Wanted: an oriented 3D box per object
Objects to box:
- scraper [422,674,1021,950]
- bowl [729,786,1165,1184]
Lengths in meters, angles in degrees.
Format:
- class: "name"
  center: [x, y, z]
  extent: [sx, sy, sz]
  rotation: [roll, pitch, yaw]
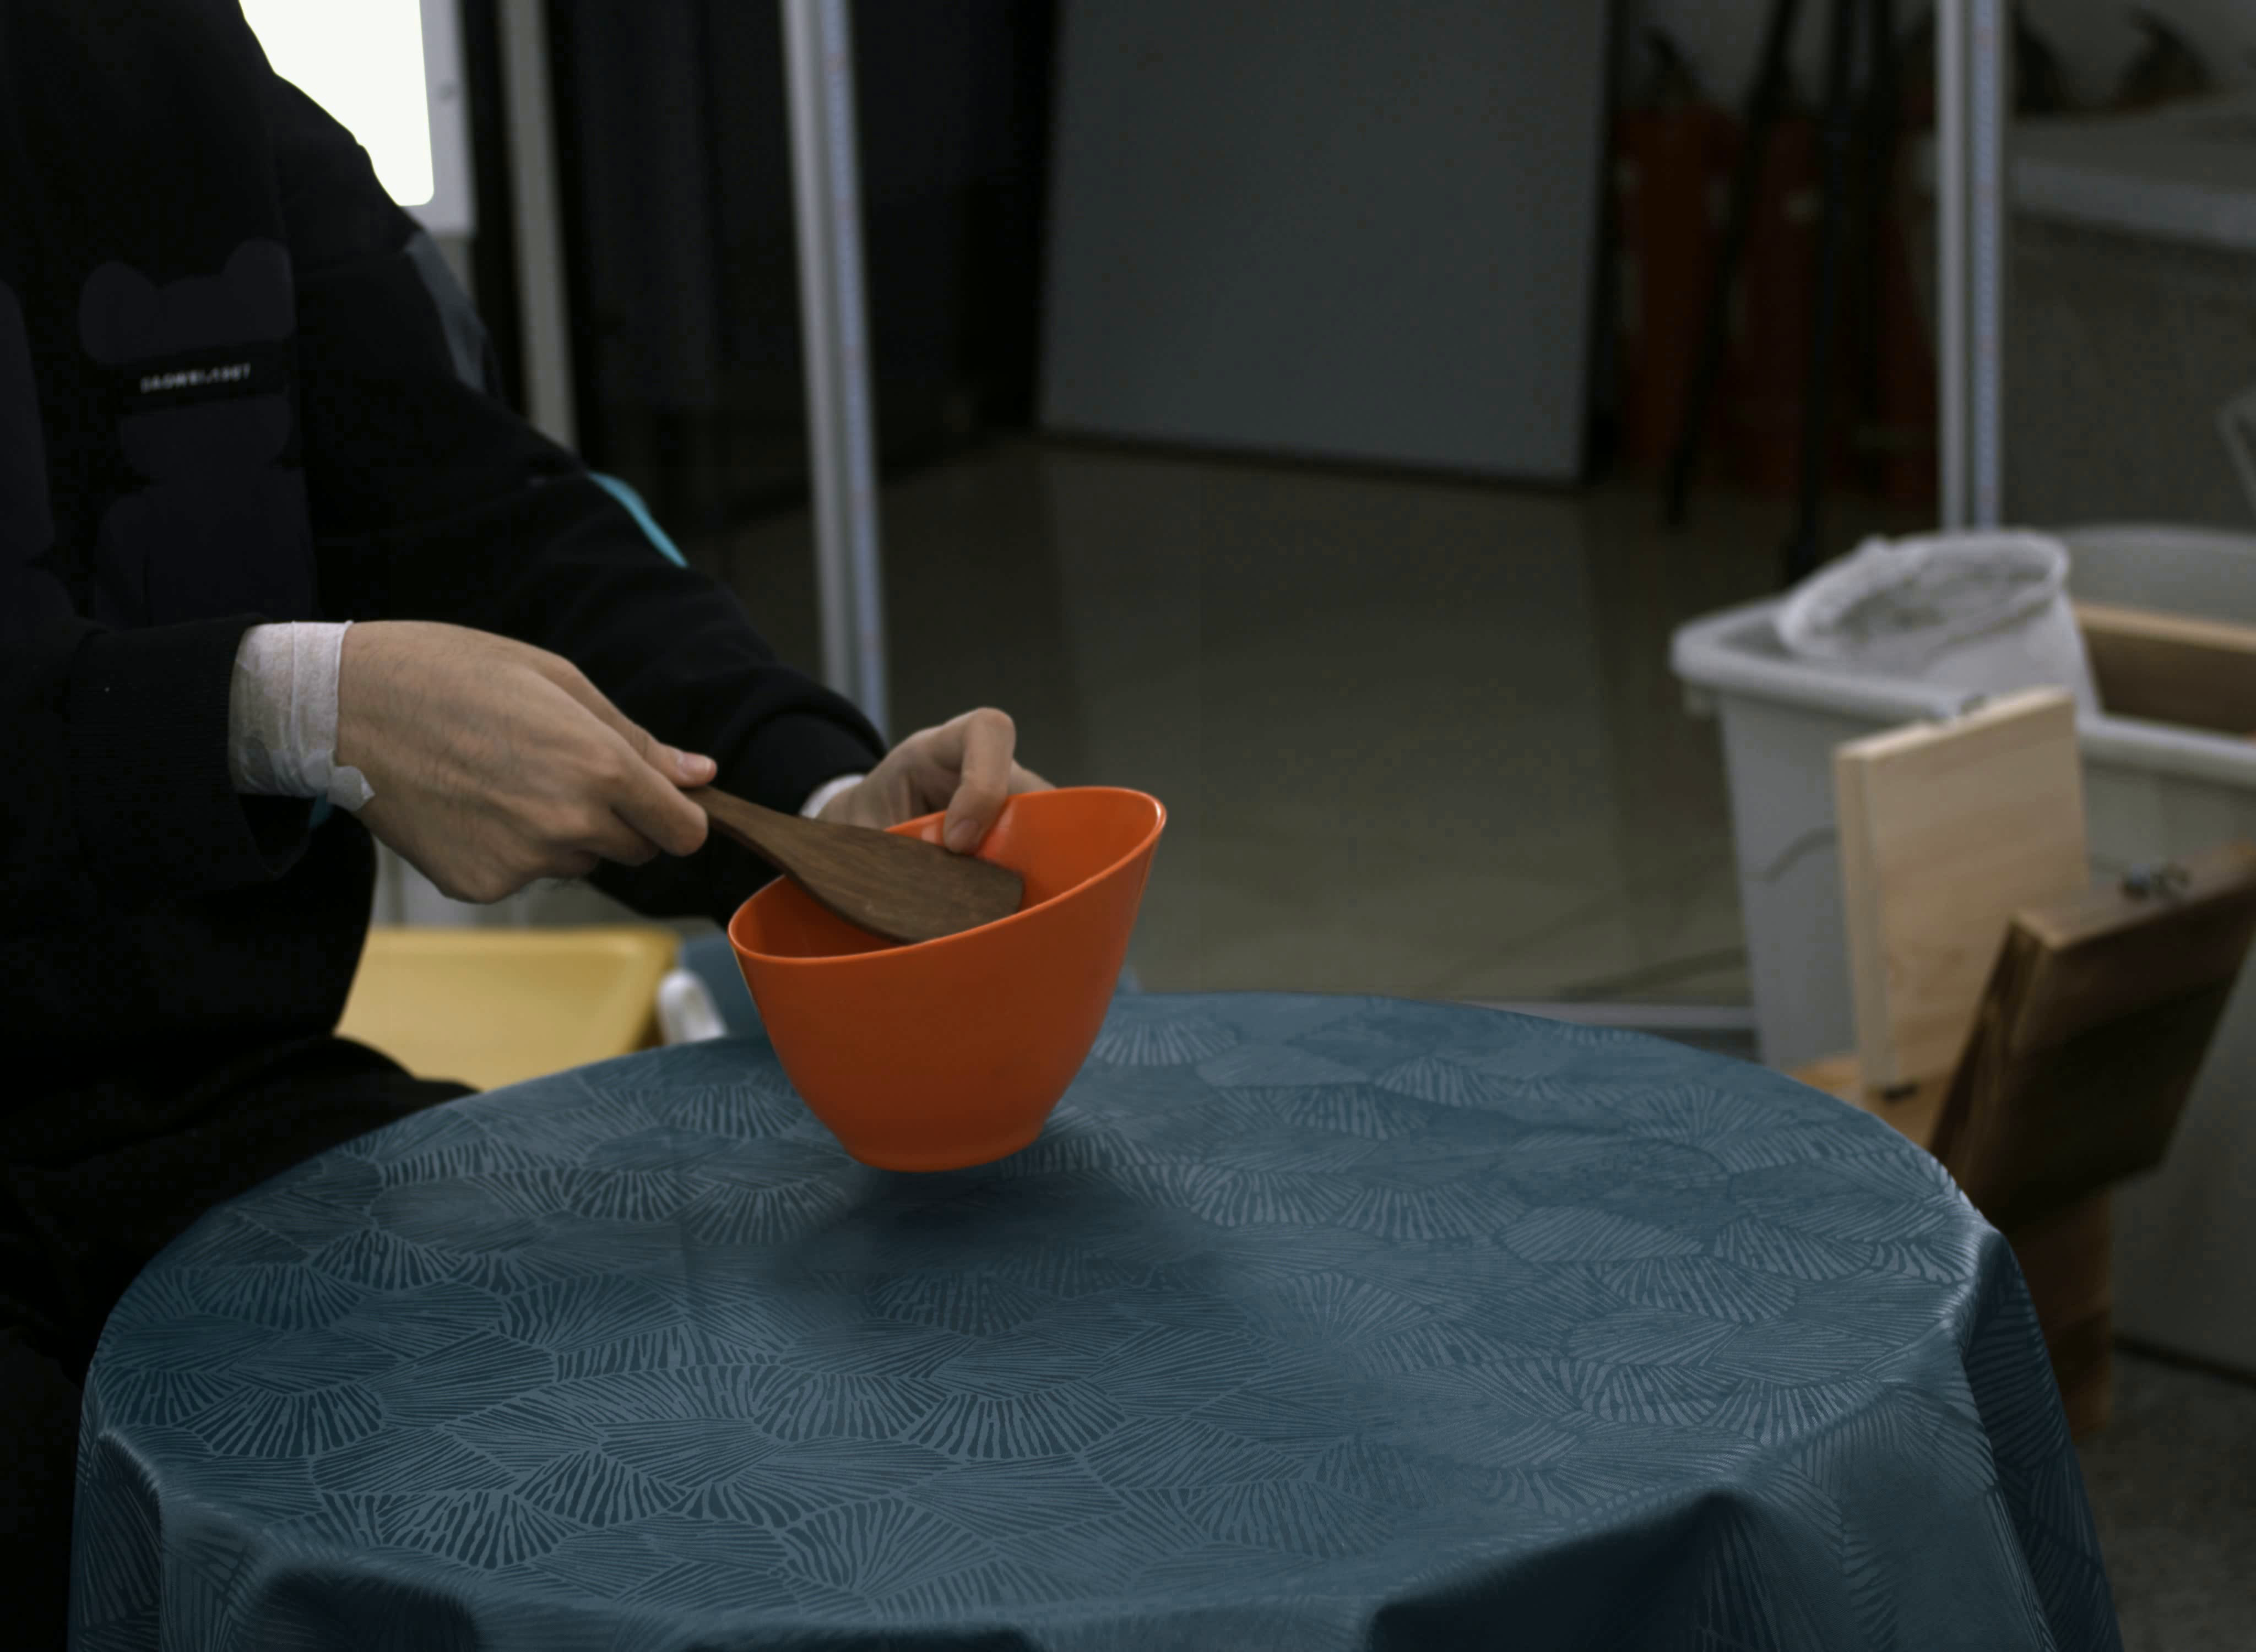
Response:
- class: "scraper"
  center: [-0.136, -0.005, 1.788]
  extent: [0.210, 0.011, 0.075]
  rotation: [23, 26, 7]
- class: "bowl"
  center: [-0.054, 0.055, 1.756]
  extent: [0.146, 0.105, 0.148]
  rotation: [-8, 18, 2]
